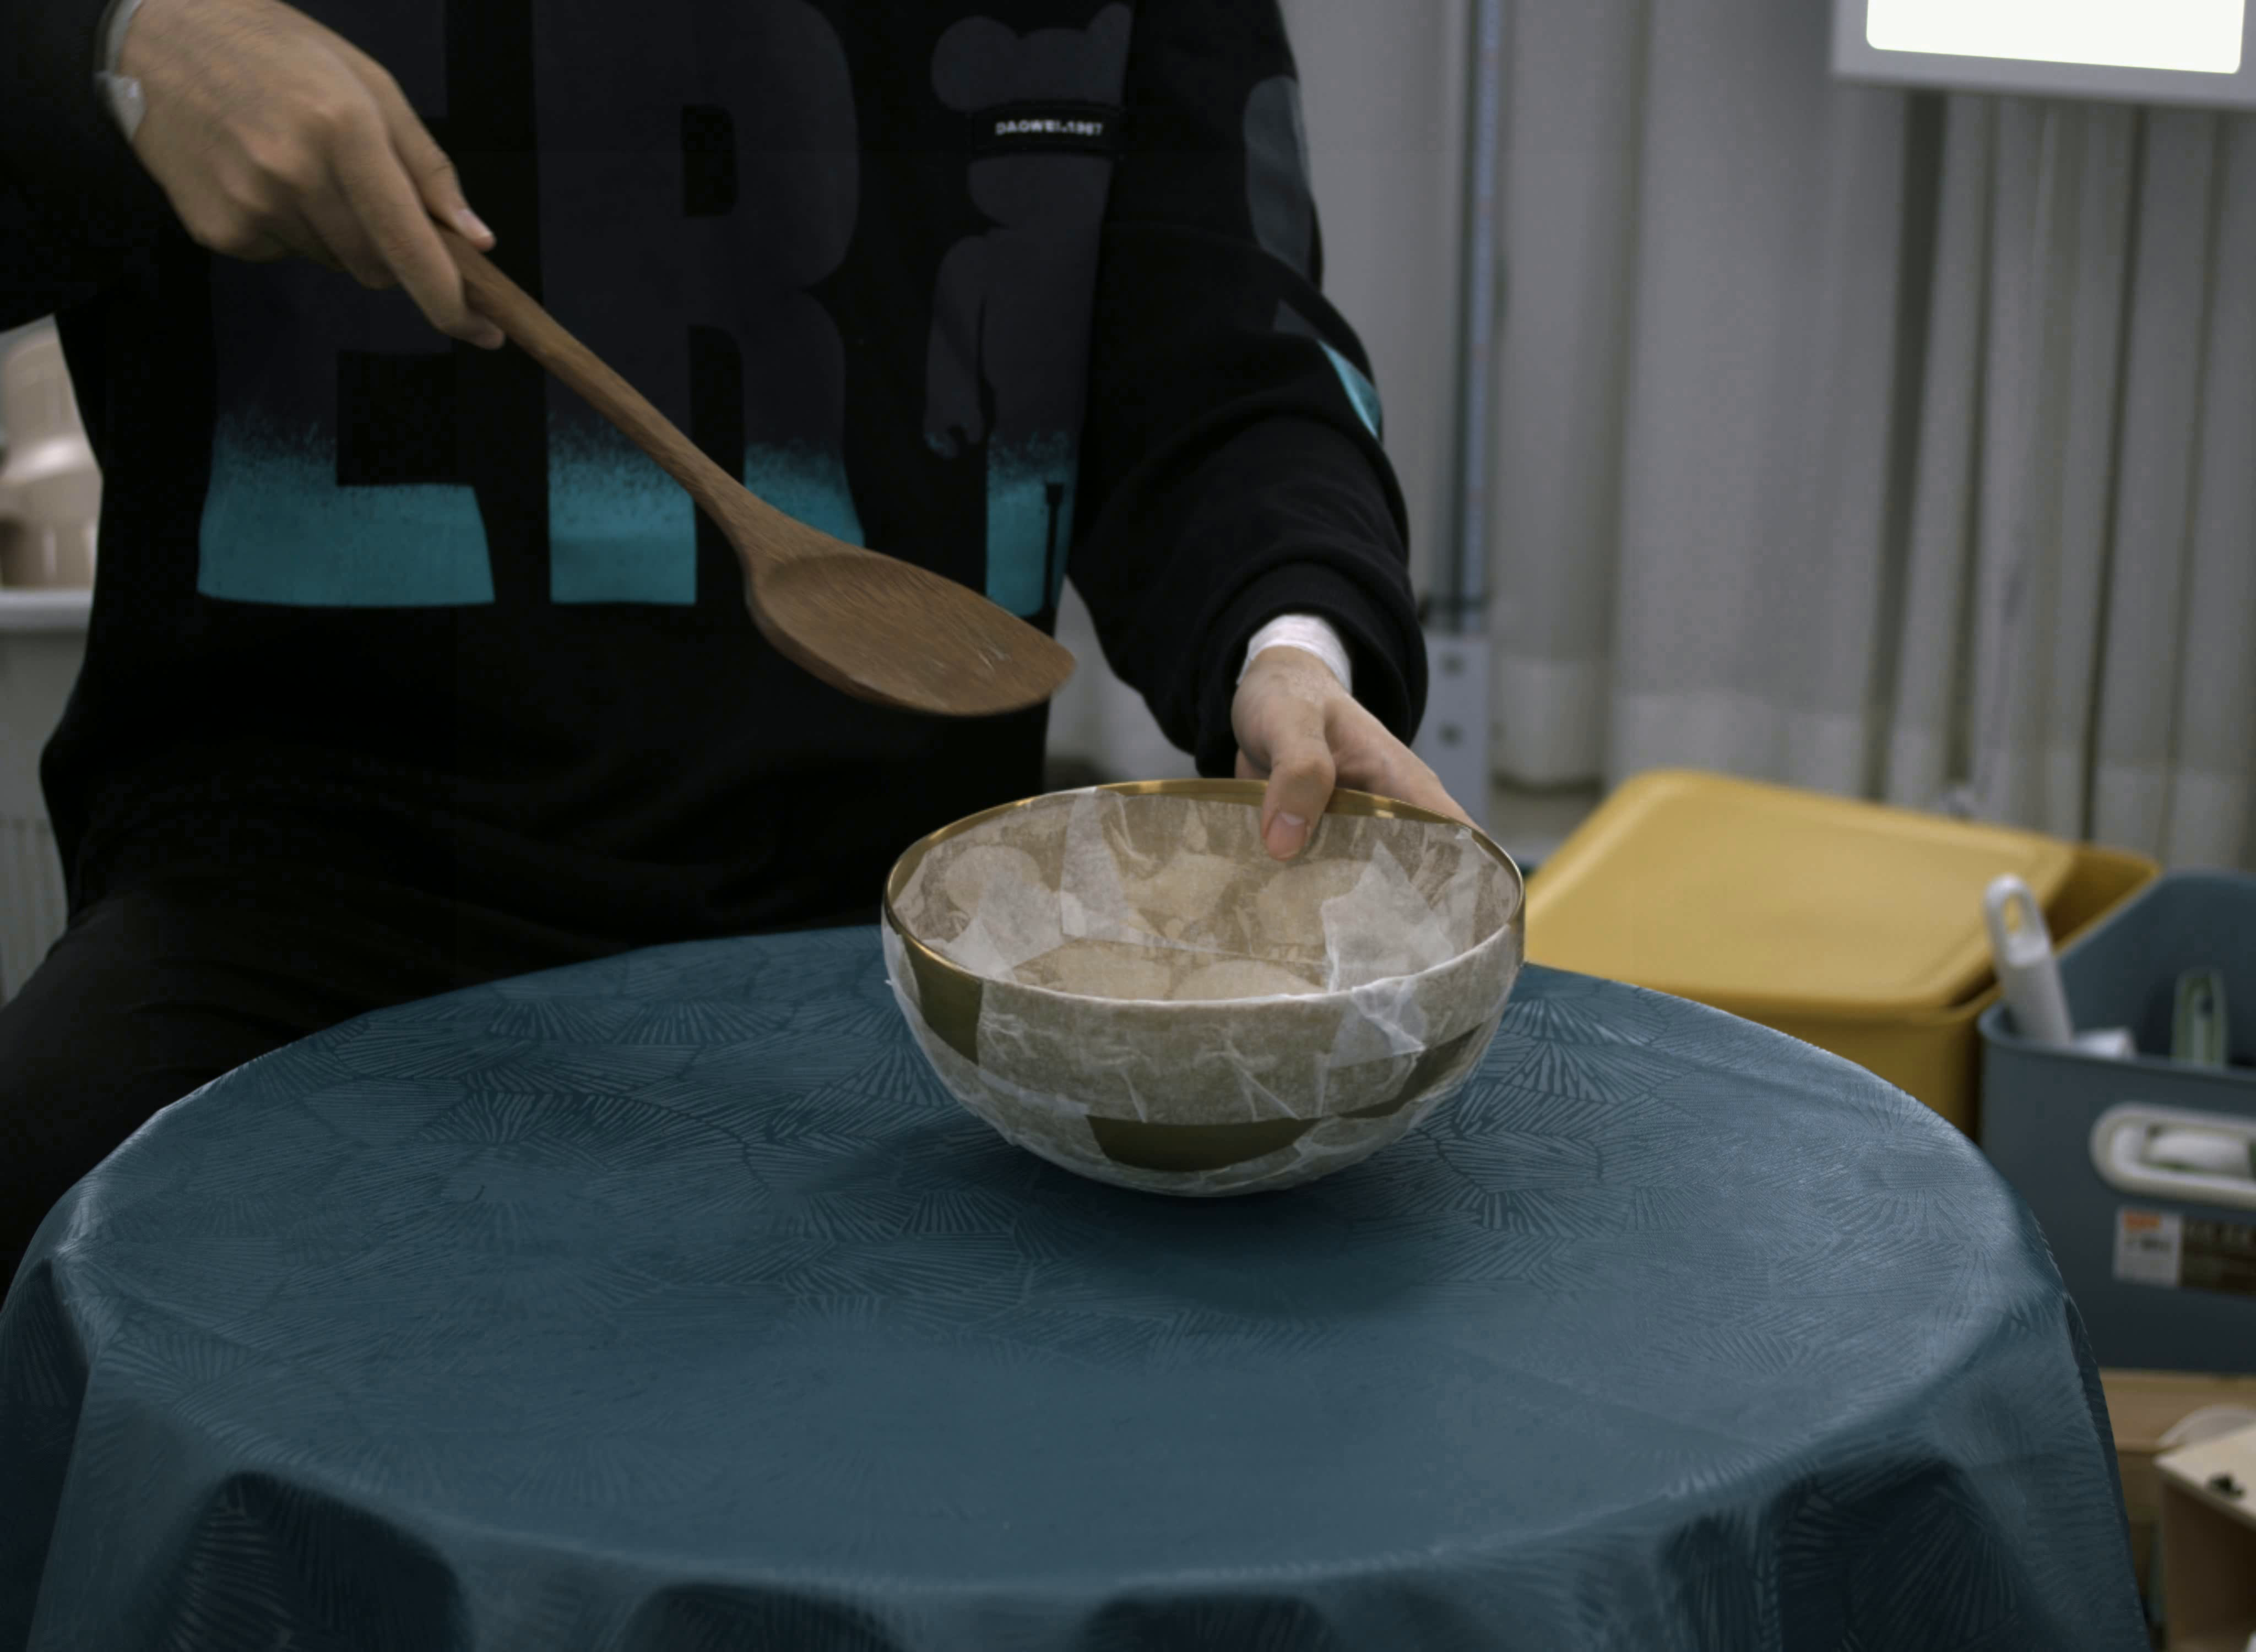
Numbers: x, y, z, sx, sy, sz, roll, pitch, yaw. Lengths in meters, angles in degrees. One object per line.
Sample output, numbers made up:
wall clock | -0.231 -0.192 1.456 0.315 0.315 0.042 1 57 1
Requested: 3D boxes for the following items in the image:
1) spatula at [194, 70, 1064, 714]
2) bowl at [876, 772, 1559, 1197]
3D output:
spatula | -0.173 -0.144 1.664 0.381 0.016 0.096 40 32 26
bowl | 0.027 0.059 1.641 0.214 0.095 0.213 -1 19 1
